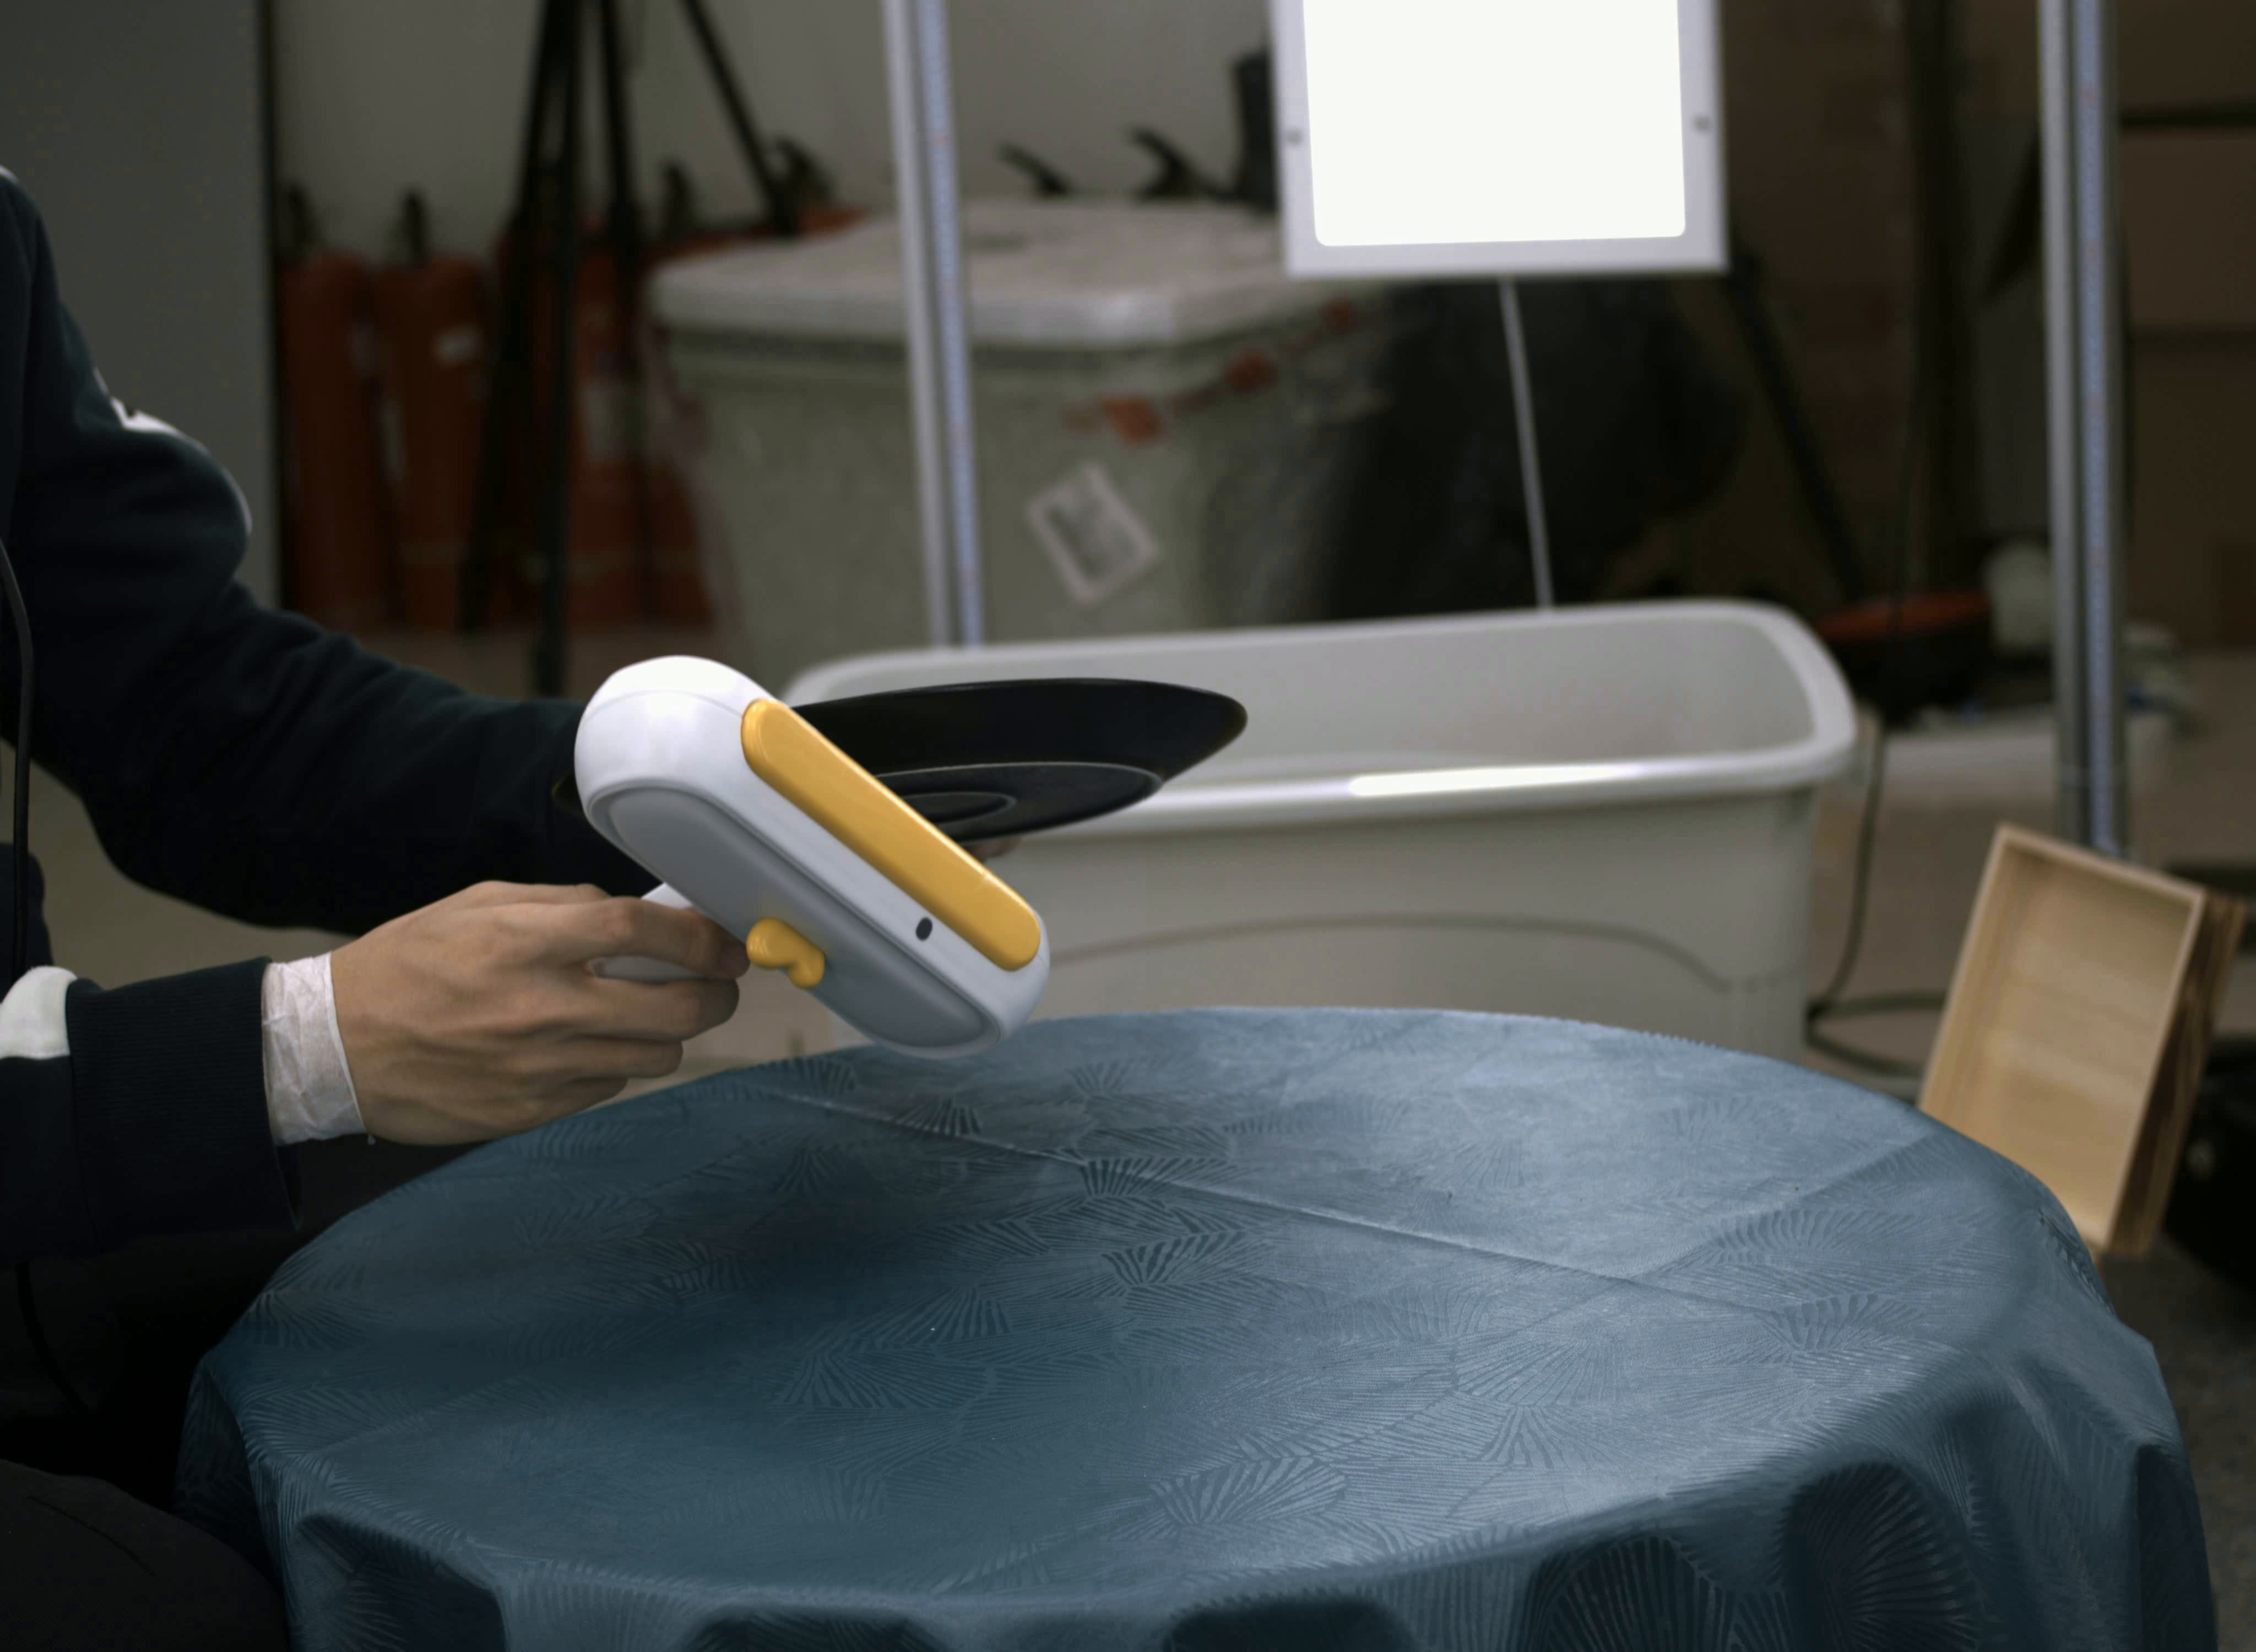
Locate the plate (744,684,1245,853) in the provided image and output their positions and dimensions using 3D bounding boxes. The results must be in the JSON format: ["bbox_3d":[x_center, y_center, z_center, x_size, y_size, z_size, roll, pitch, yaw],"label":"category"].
[{"bbox_3d":[-0.078,-0.013,1.909,0.243,0.023,0.245,-6,-9,-2],"label":"plate"}]

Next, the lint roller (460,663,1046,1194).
[{"bbox_3d":[-0.147,0.050,1.797,0.196,0.189,0.074,-36,40,30],"label":"lint roller"}]
